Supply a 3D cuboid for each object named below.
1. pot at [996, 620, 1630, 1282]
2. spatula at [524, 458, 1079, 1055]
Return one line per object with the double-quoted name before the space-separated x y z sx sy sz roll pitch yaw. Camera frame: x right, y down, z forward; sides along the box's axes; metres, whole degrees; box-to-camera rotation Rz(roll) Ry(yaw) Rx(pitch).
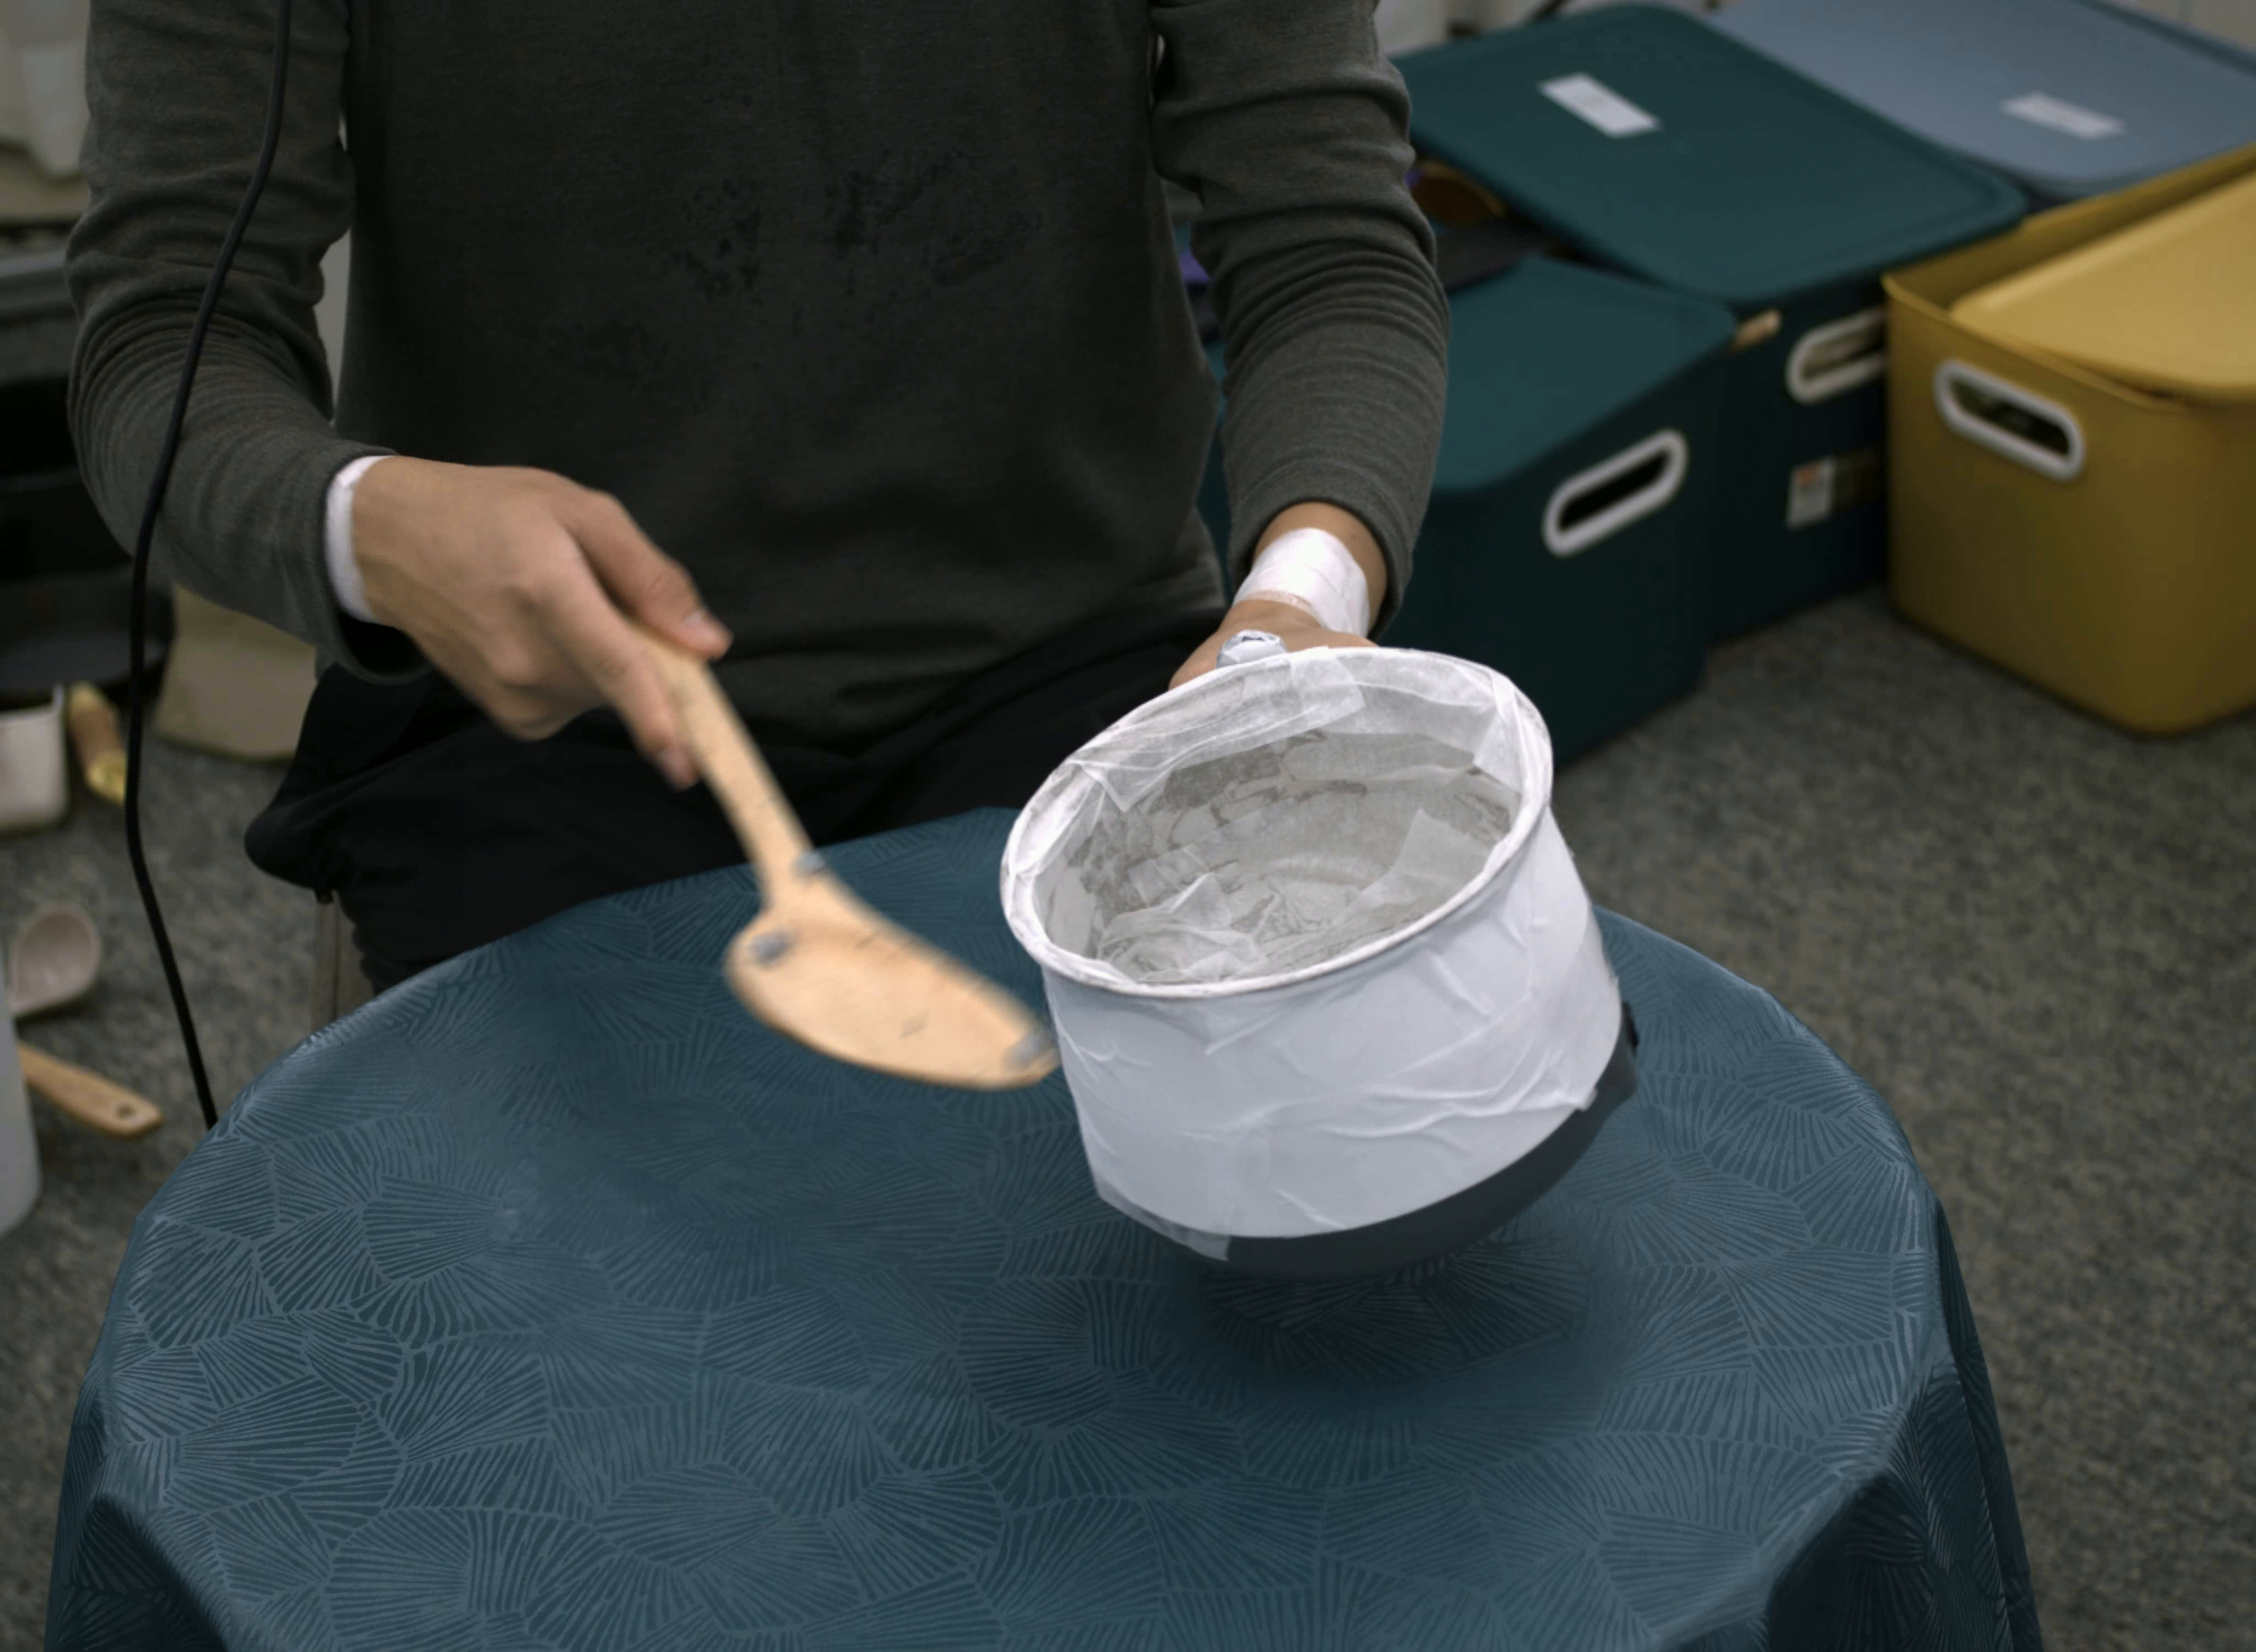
"pot" 0.057 0.030 1.784 0.178 0.135 0.237 -14 33 3
"spatula" -0.123 -0.028 1.743 0.096 0.018 0.394 6 27 -29
